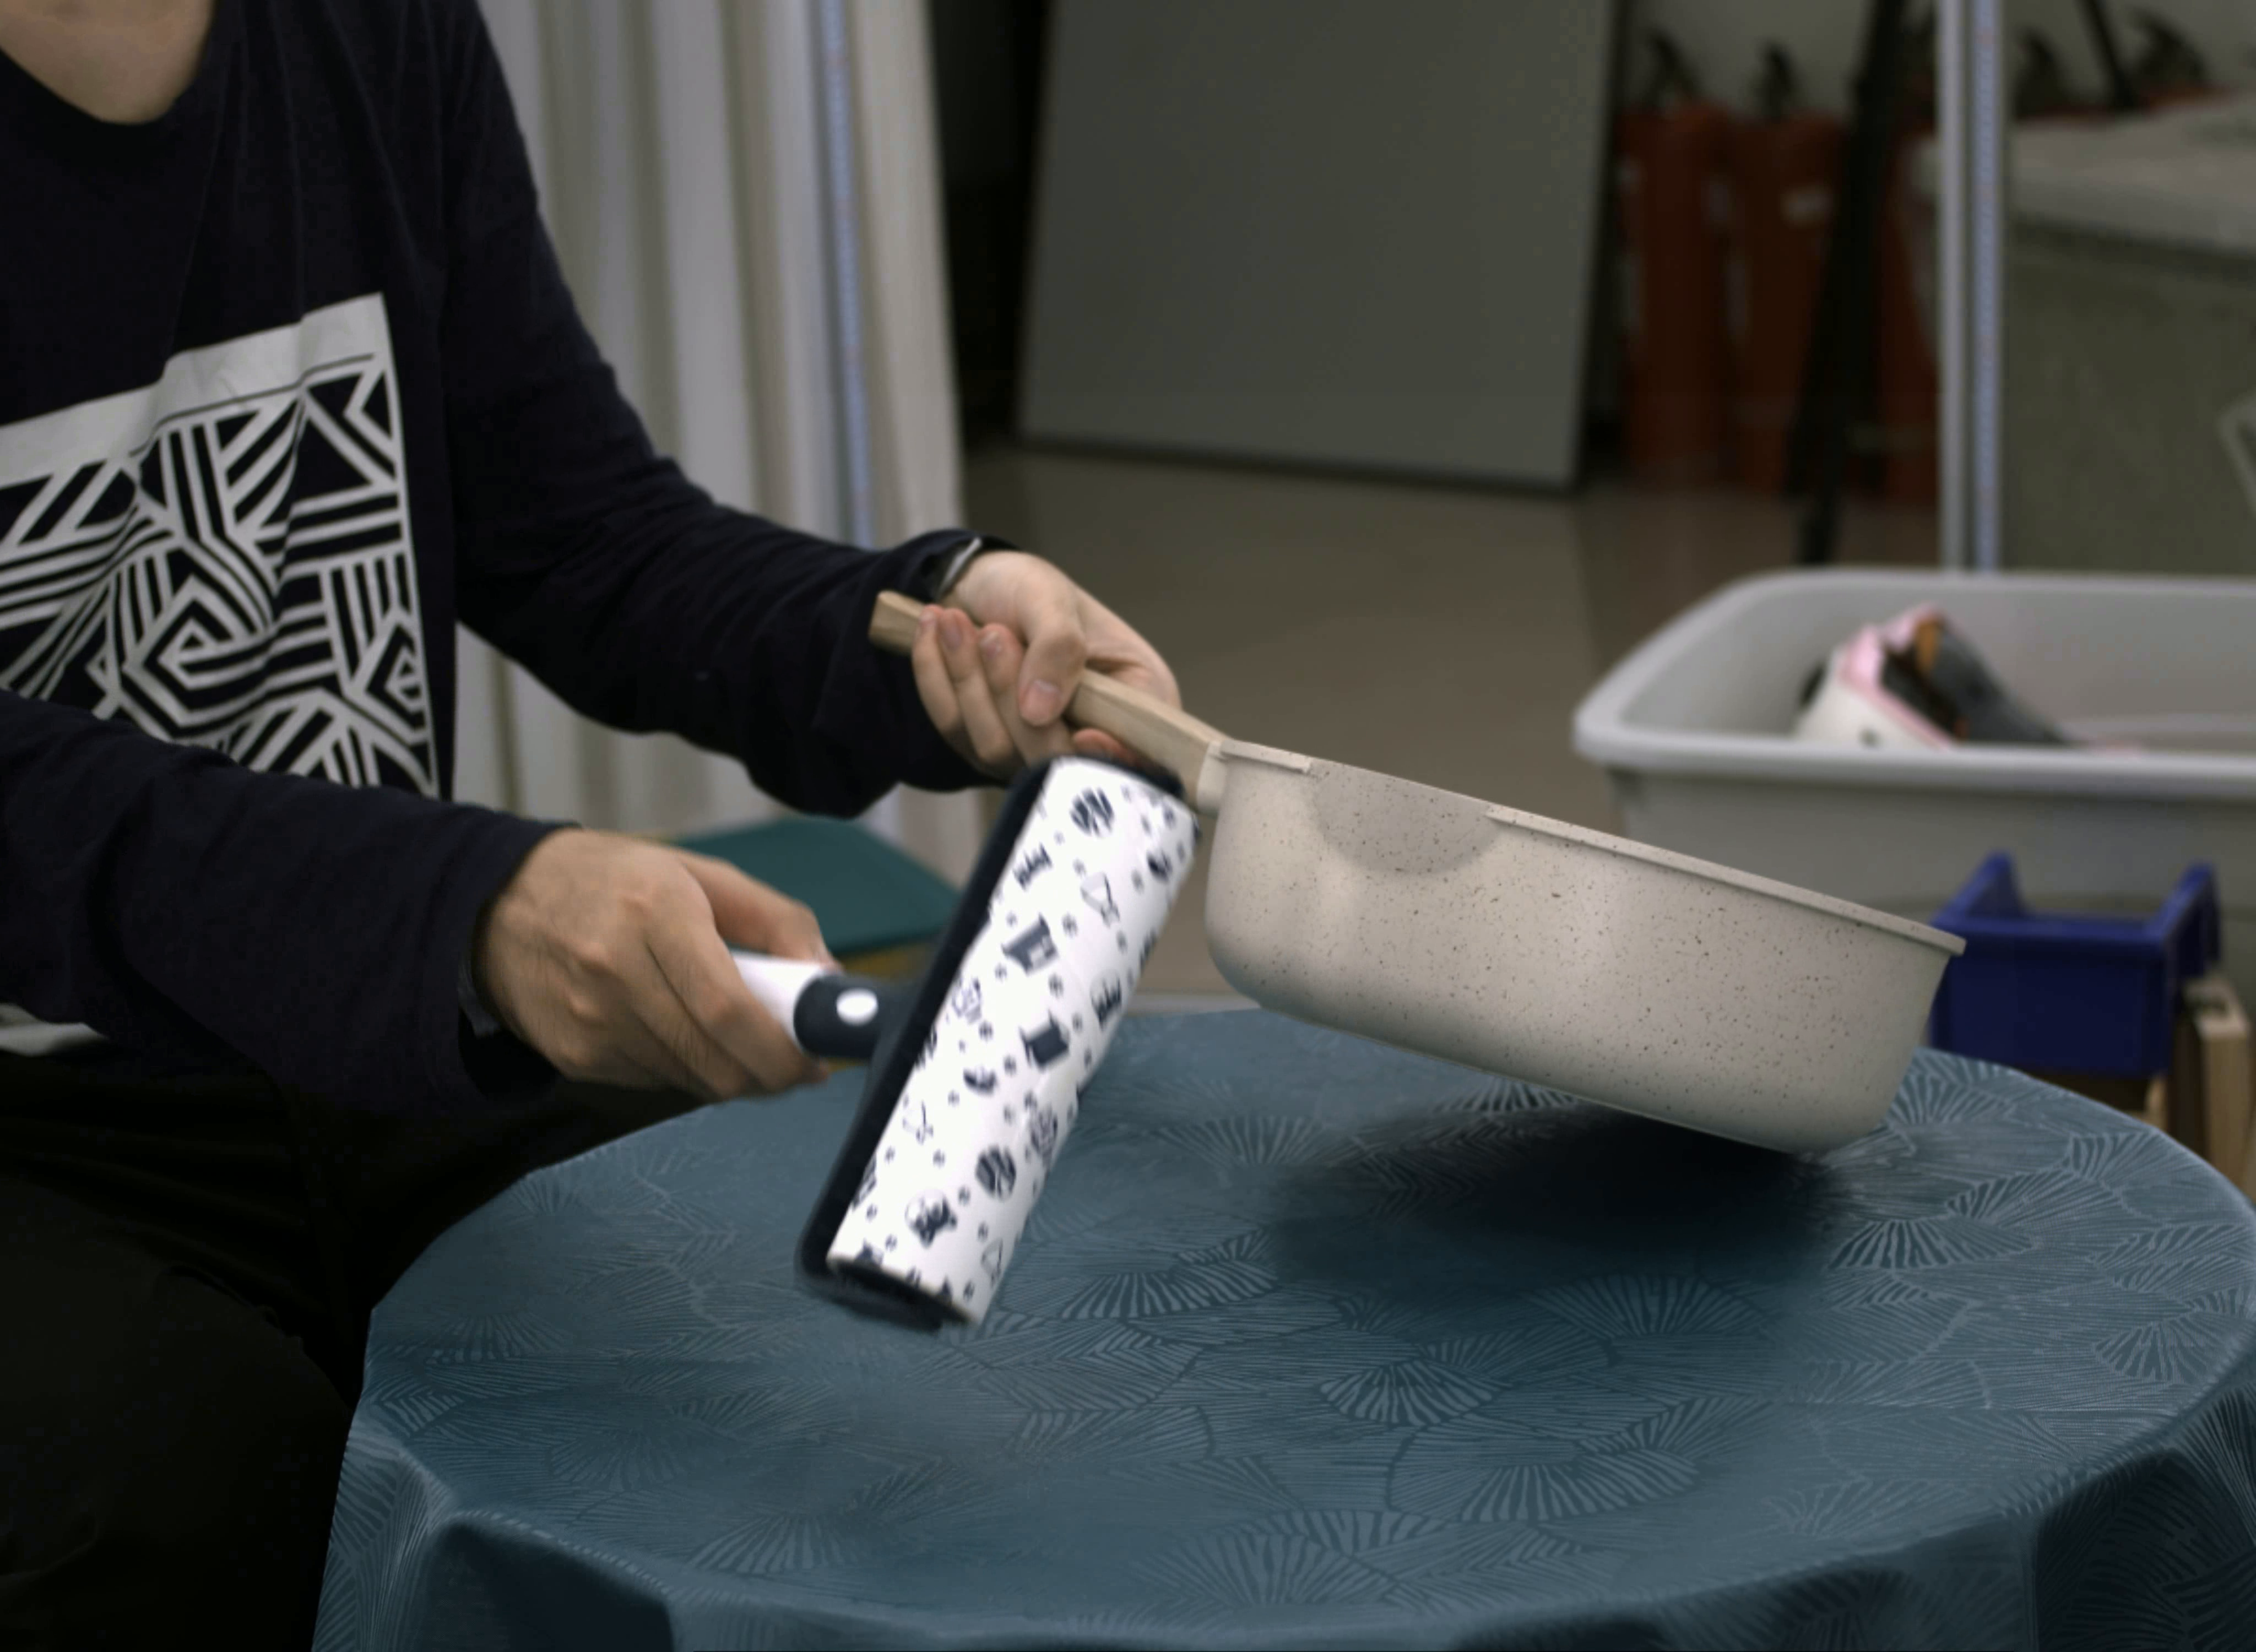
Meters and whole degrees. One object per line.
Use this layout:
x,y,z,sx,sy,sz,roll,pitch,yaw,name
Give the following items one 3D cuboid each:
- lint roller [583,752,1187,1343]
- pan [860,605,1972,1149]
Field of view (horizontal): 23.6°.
-0.096,0.058,1.603,0.049,0.177,0.249,35,-19,-34,lint roller
0.072,0.016,1.801,0.438,0.103,0.258,15,0,36,pan
